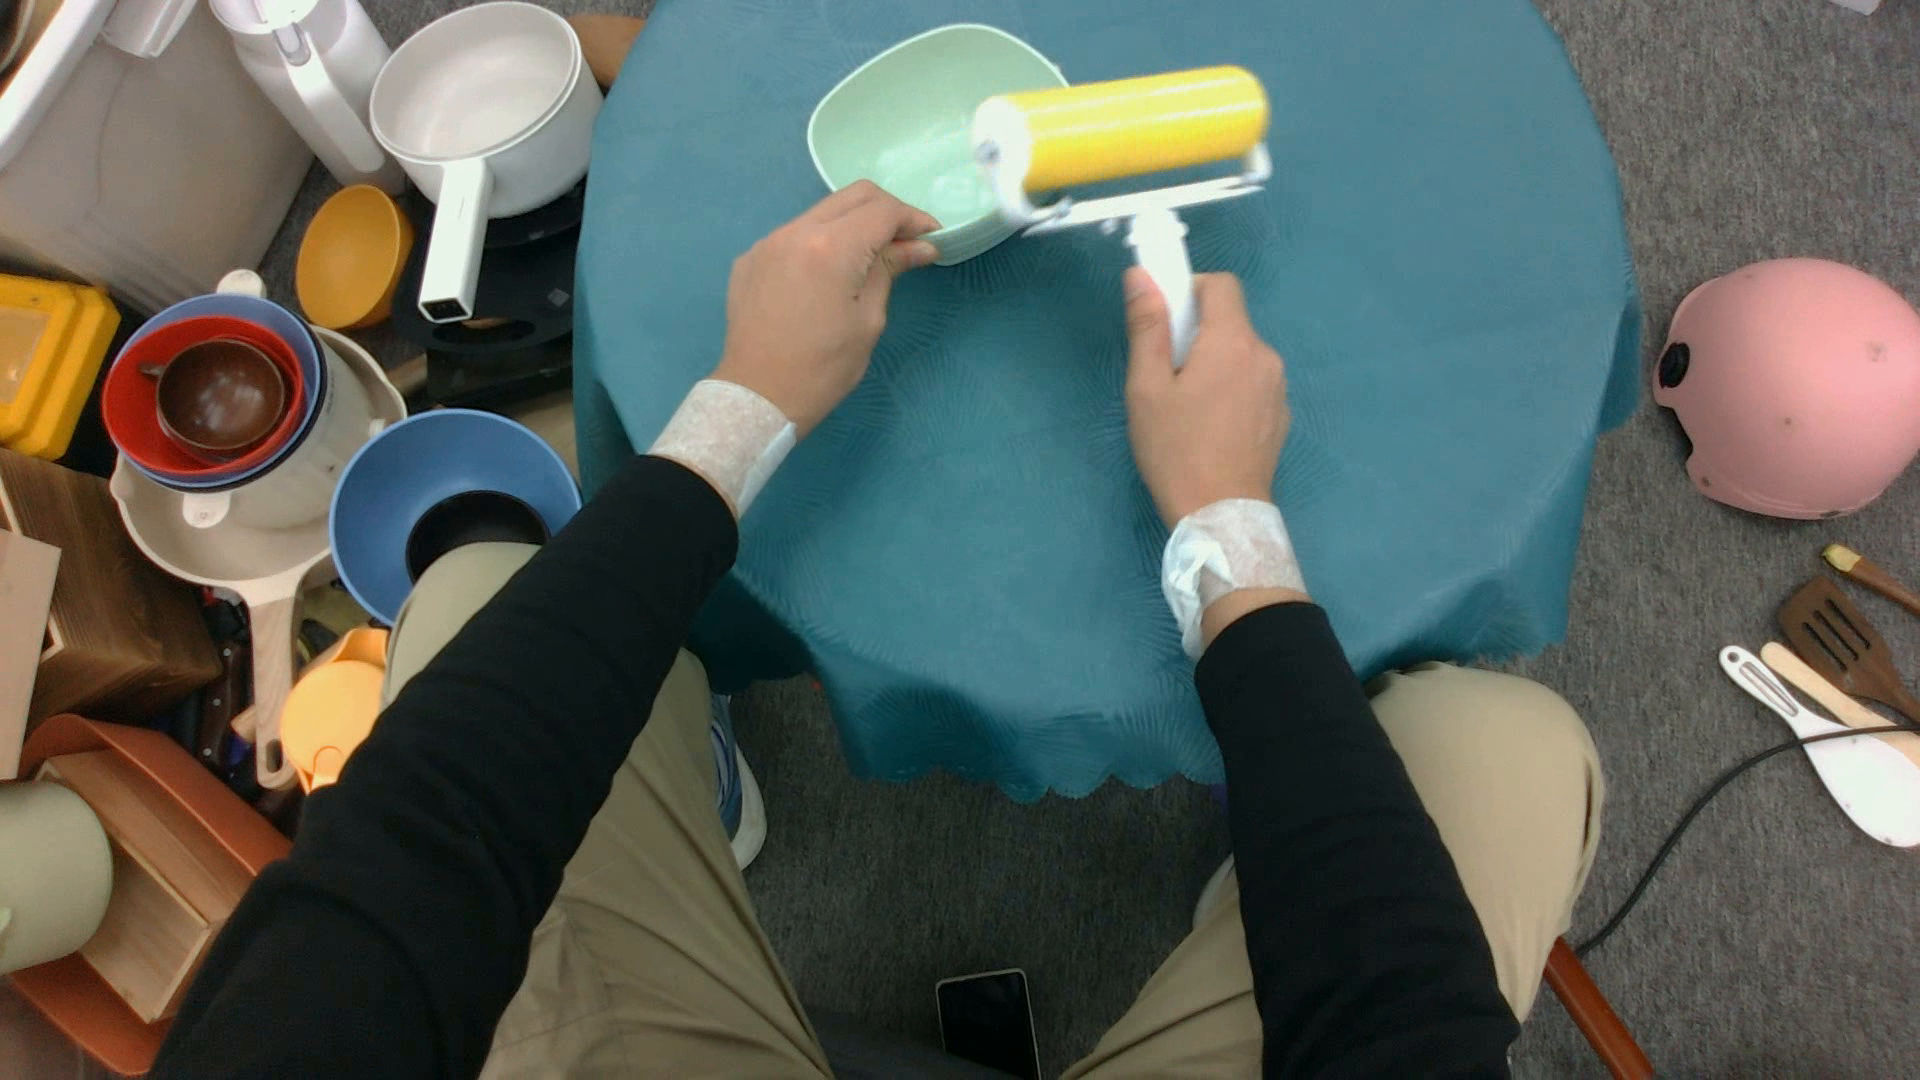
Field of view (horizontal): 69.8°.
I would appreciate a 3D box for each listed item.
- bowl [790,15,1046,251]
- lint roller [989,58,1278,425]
[{"bbox_3d":[-0.015,-0.216,0.760,0.151,0.058,0.152,-5,60,8],"label":"bowl"},{"bbox_3d":[0.116,-0.156,0.709,0.175,0.051,0.192,-14,81,-33],"label":"lint roller"}]
